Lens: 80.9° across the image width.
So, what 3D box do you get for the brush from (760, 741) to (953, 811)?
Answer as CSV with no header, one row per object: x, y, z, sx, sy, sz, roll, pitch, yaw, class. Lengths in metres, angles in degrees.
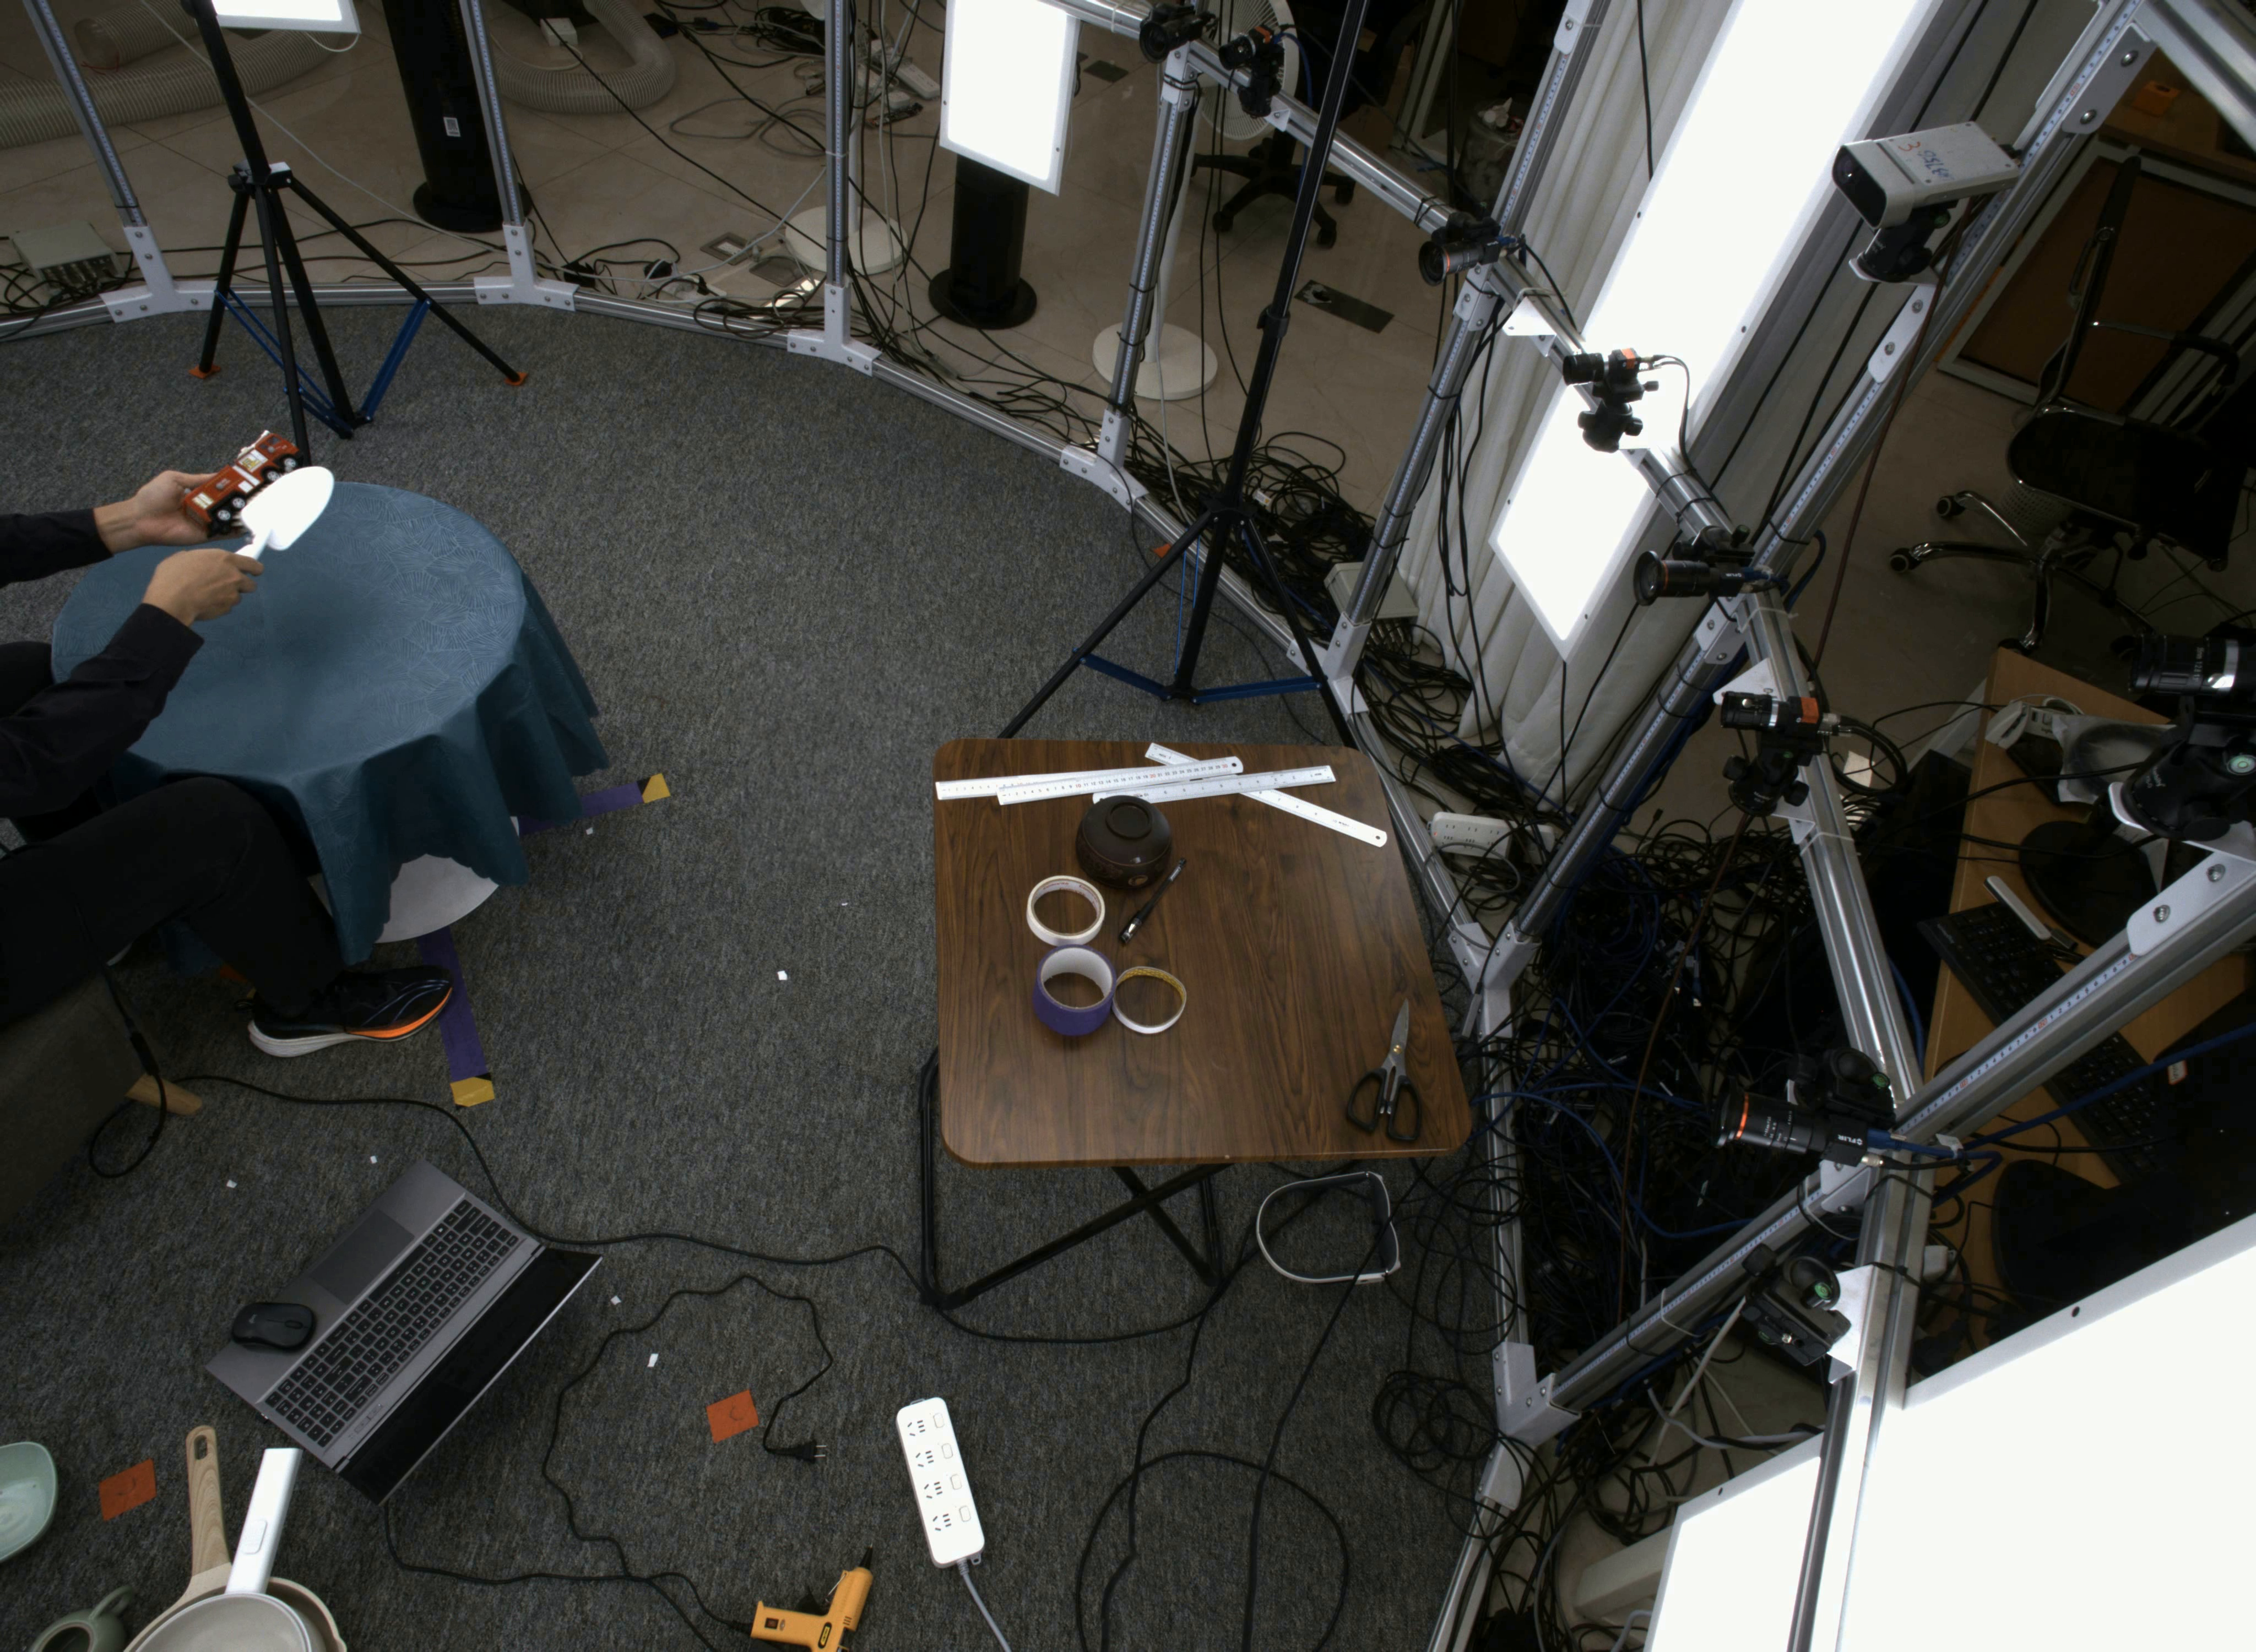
-0.406,-0.070,1.918,0.328,0.086,0.080,-19,53,-40,brush

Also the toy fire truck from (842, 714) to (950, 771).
-0.360,-0.129,2.012,0.169,0.054,0.069,-16,62,-33,toy fire truck
